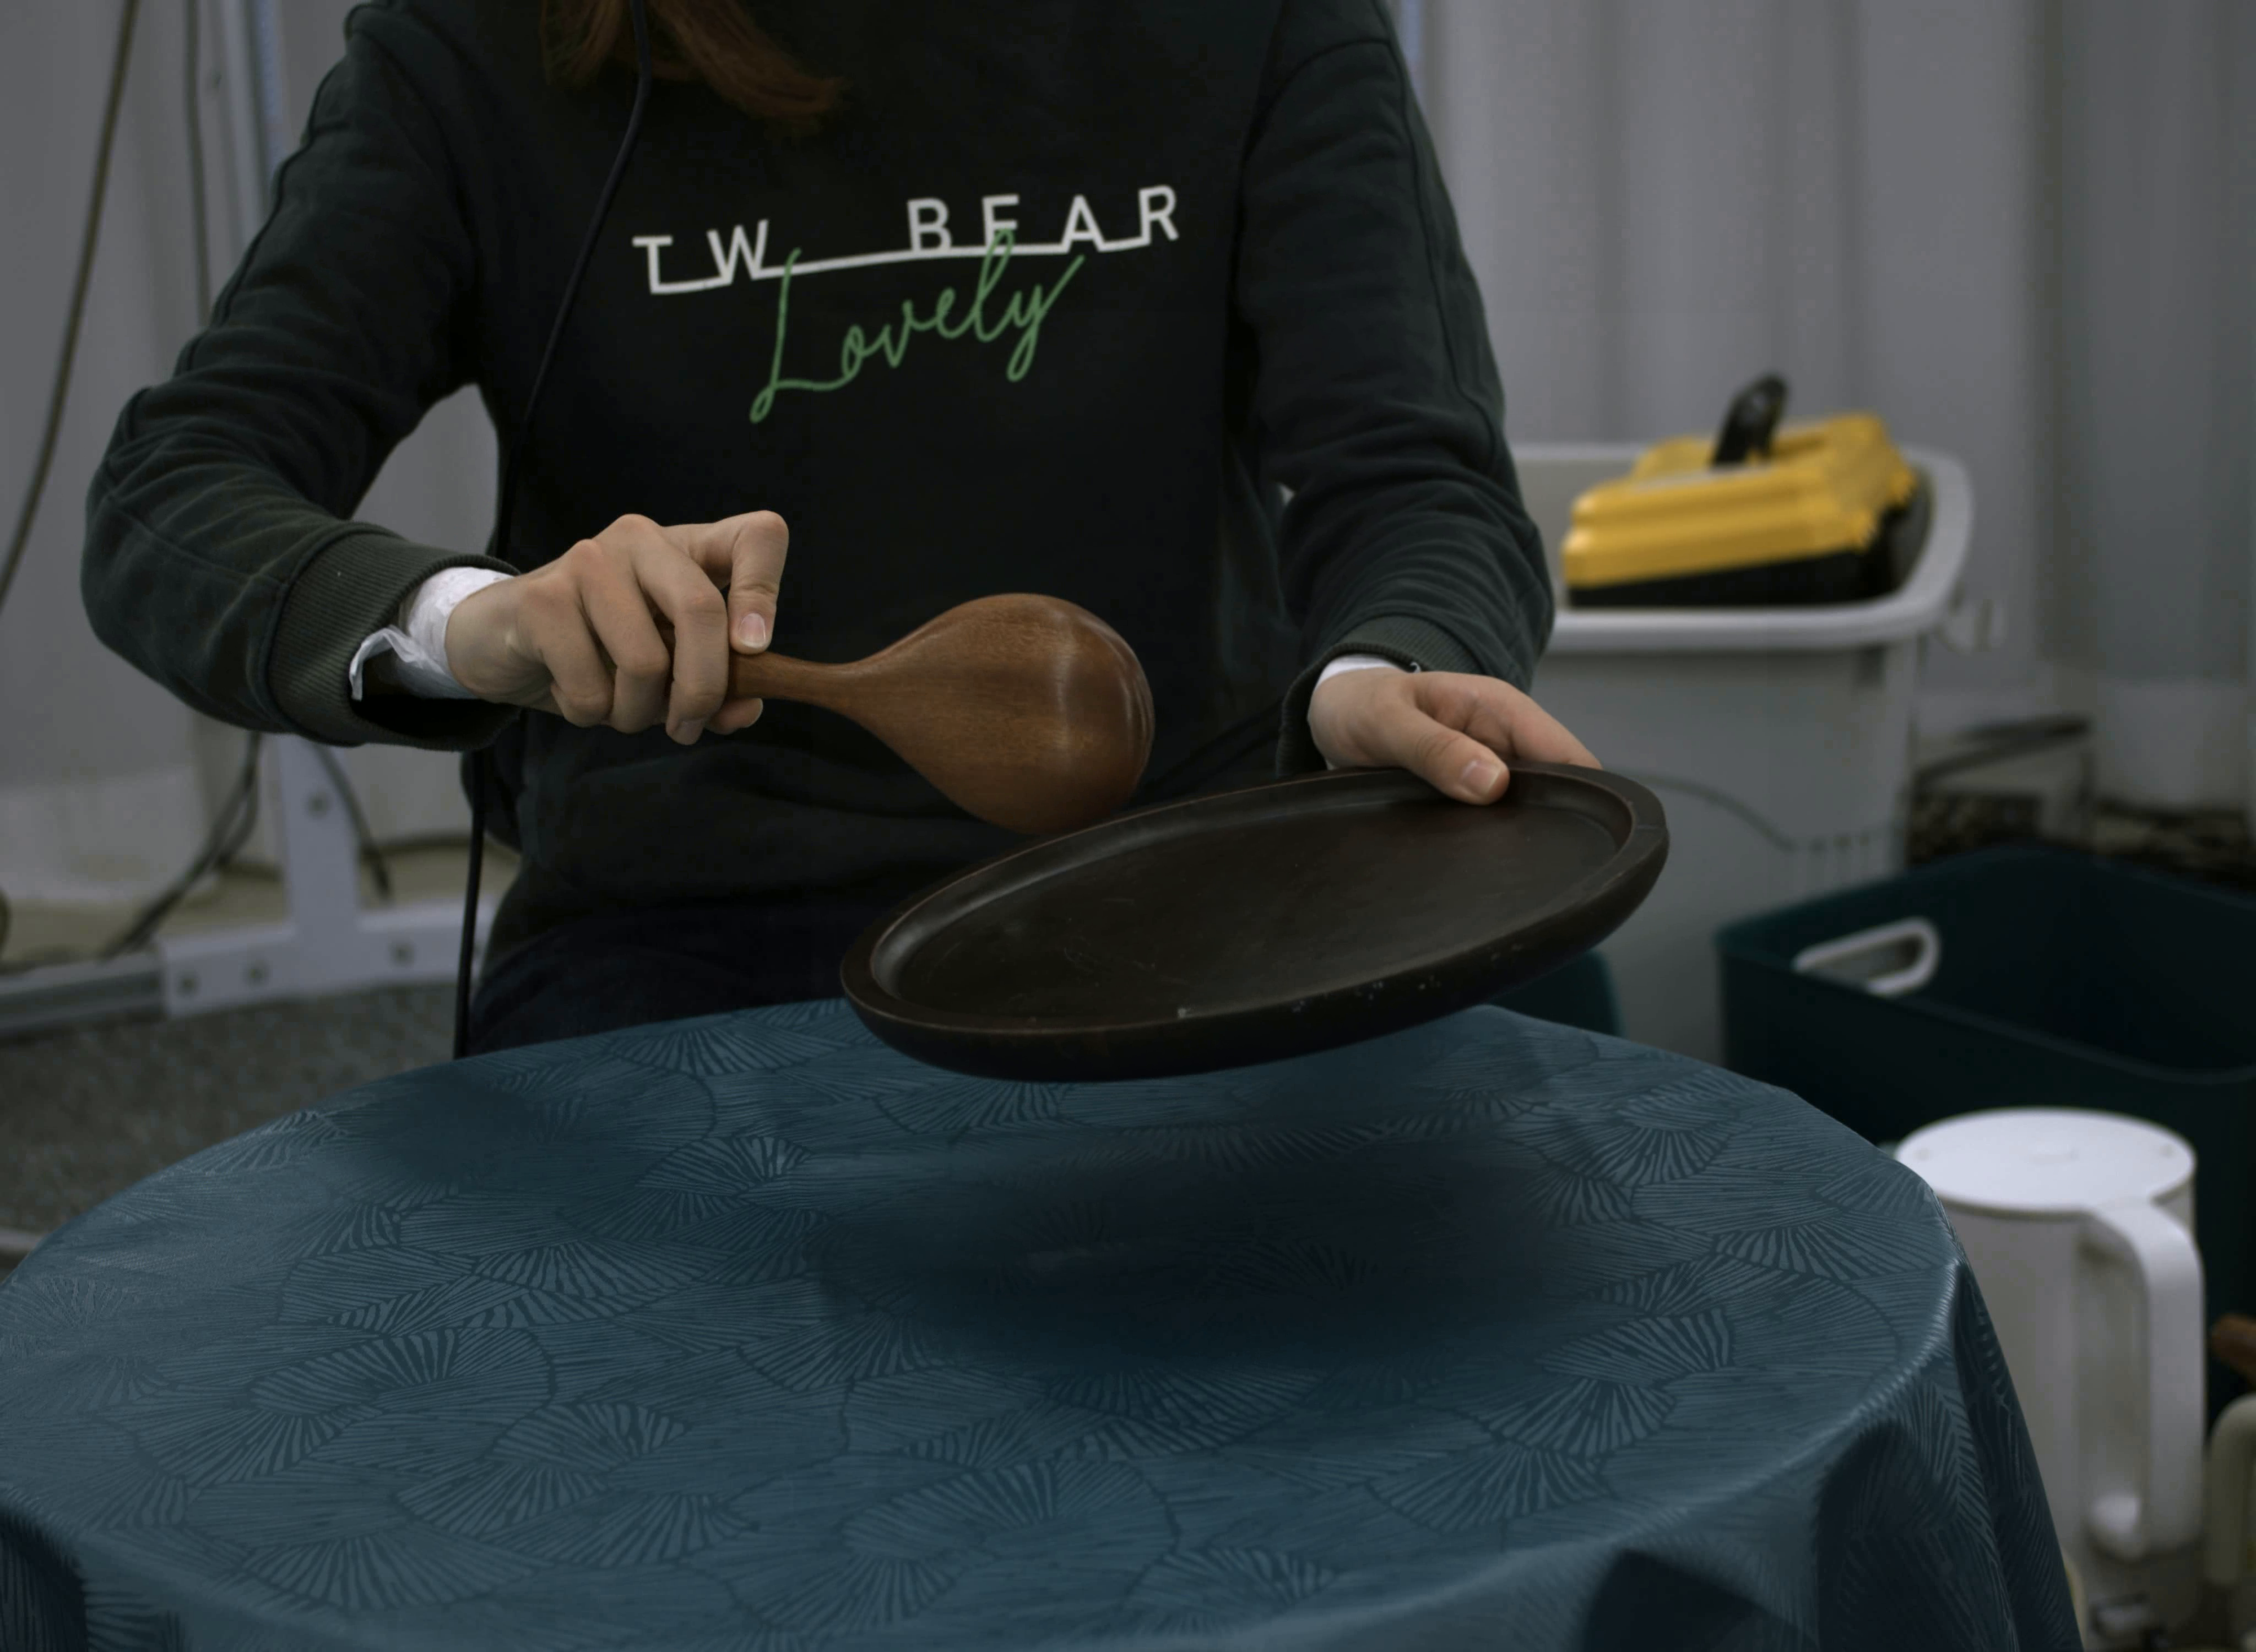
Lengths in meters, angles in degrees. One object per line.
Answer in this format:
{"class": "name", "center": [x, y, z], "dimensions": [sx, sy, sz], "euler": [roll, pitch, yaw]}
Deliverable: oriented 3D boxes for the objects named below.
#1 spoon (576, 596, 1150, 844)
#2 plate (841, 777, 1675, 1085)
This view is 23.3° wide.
{"class": "spoon", "center": [-0.085, -0.041, 1.677], "dimensions": [0.217, 0.075, 0.017], "euler": [11, 15, 34]}
{"class": "plate", "center": [0.039, 0.029, 1.640], "dimensions": [0.254, 0.029, 0.256], "euler": [-10, 15, 2]}
